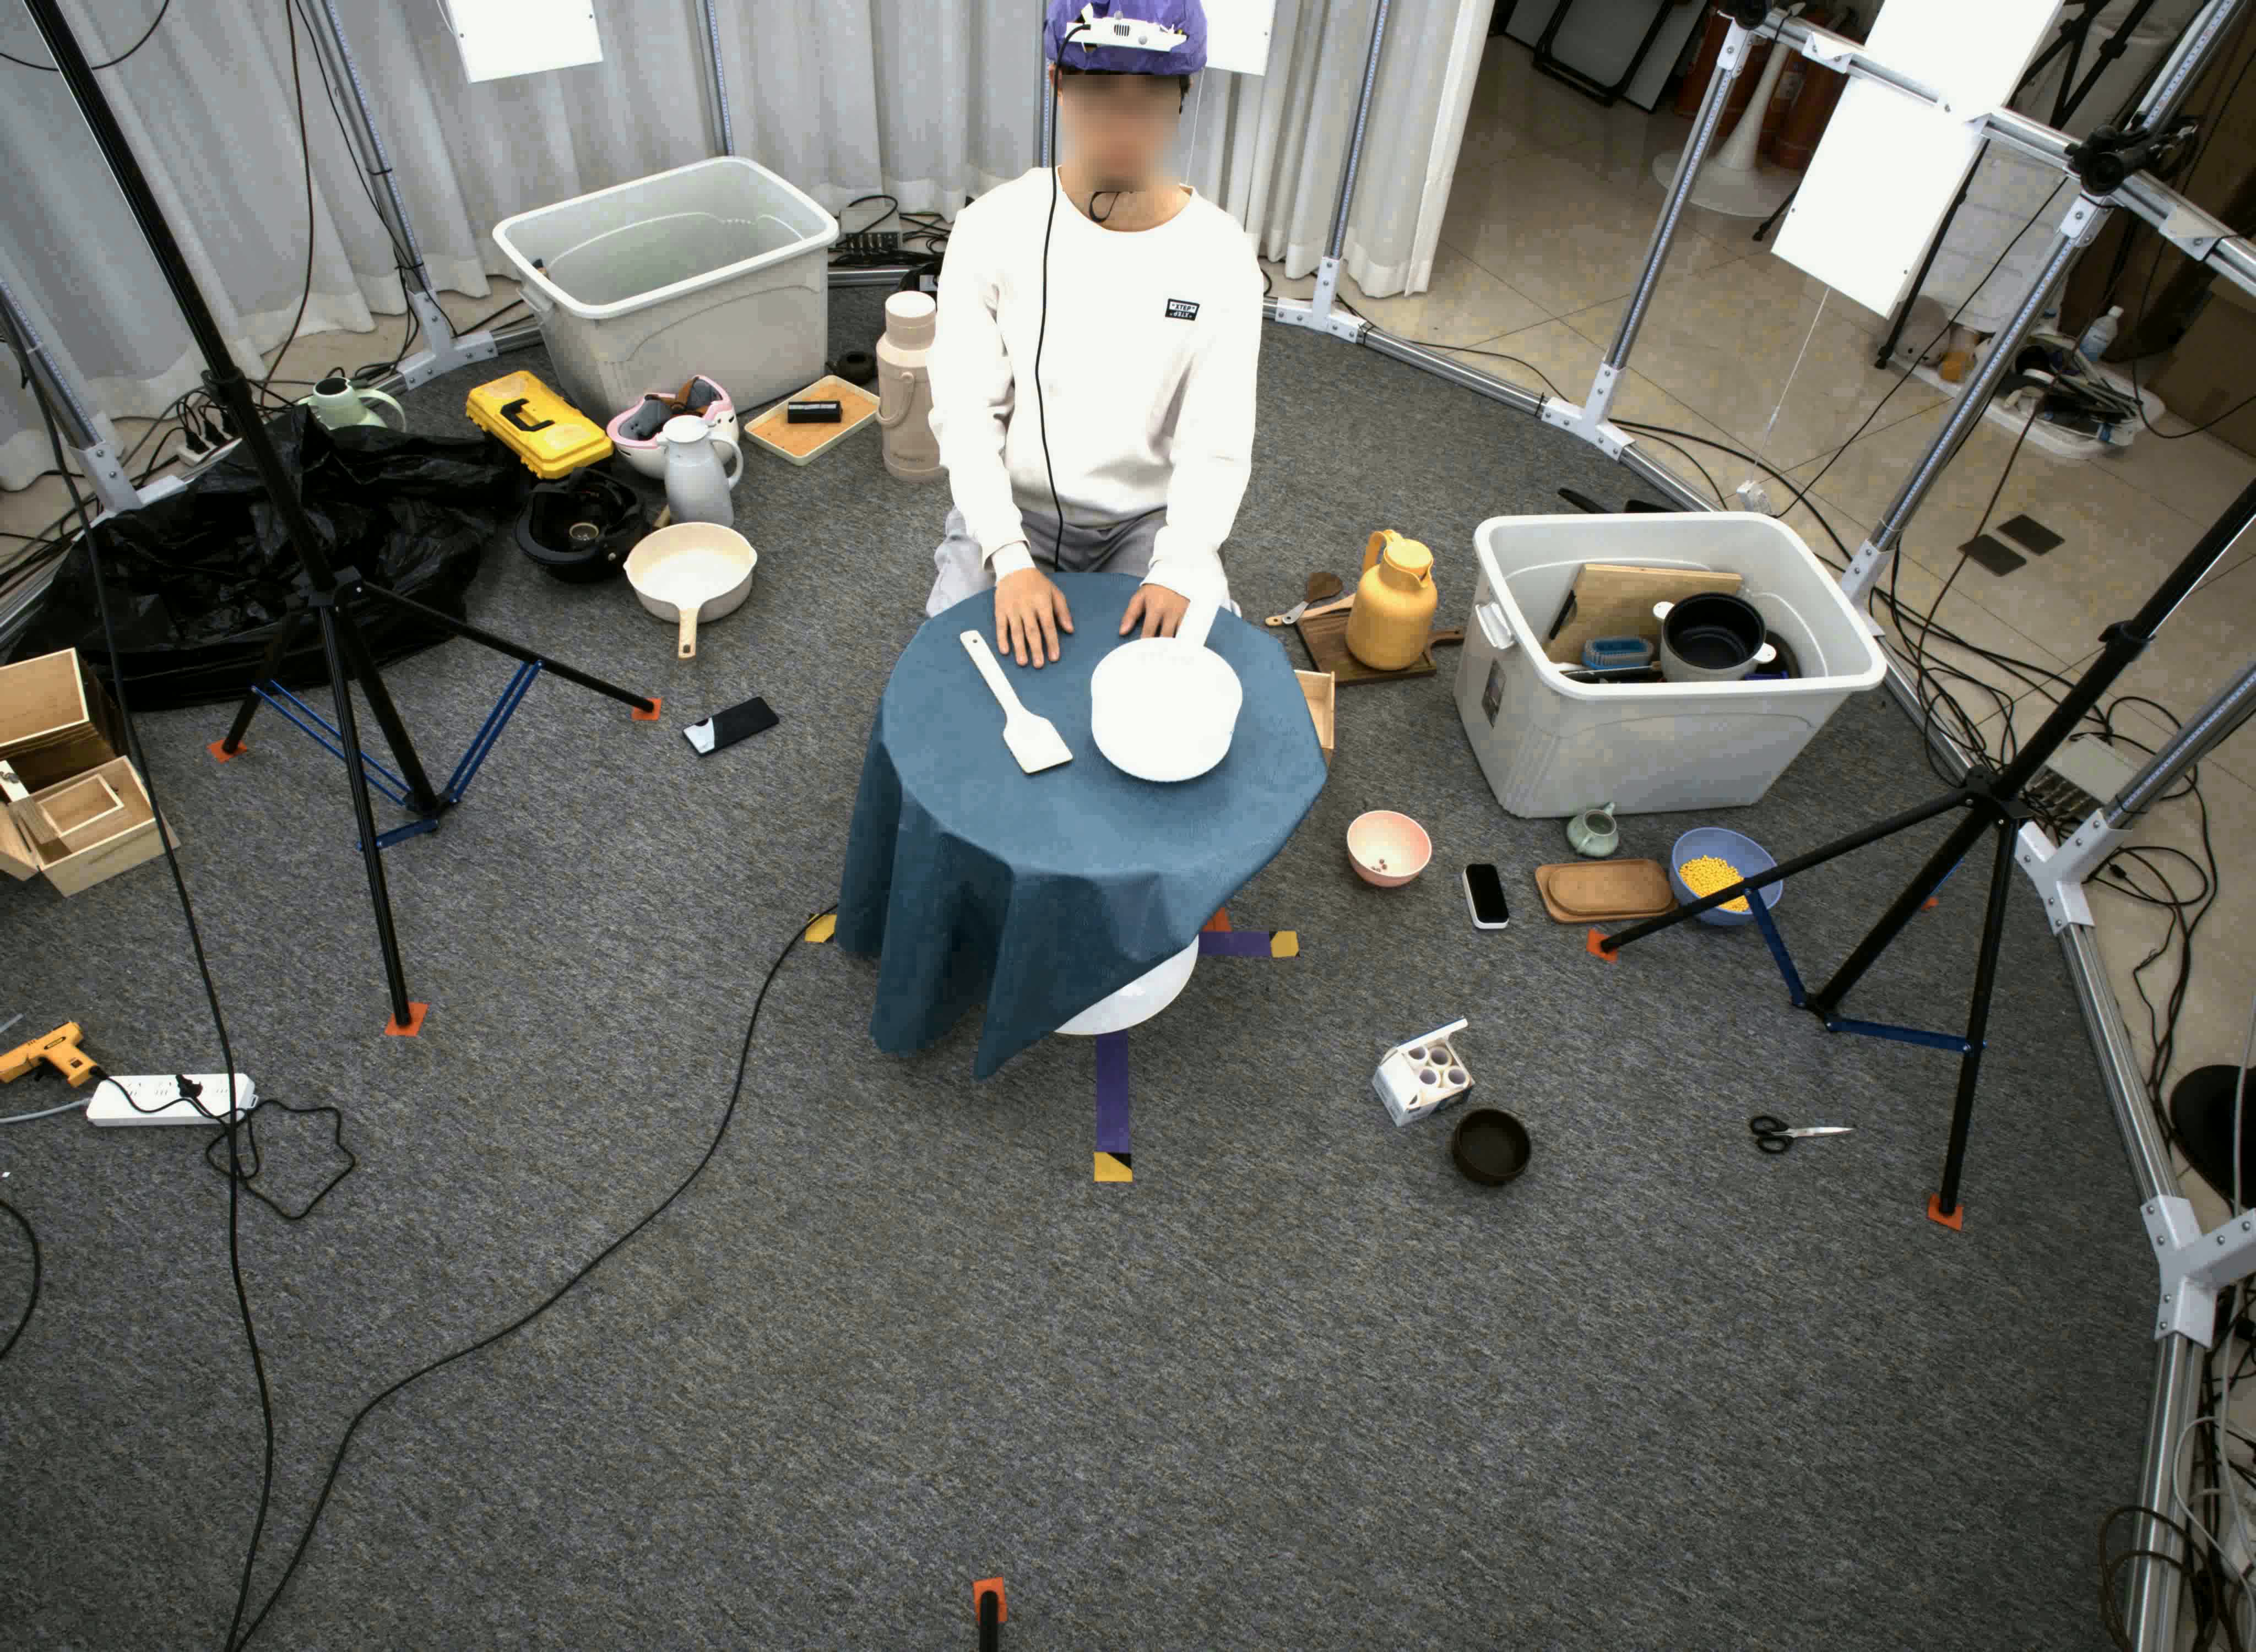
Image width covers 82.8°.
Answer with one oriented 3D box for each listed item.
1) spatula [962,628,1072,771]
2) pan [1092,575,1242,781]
[{"bbox_3d":[-0.170,-0.184,1.807,0.072,0.010,0.299,-19,53,-18],"label":"spatula"},{"bbox_3d":[0.073,-0.208,1.787,0.202,0.099,0.362,15,48,9],"label":"pan"}]
